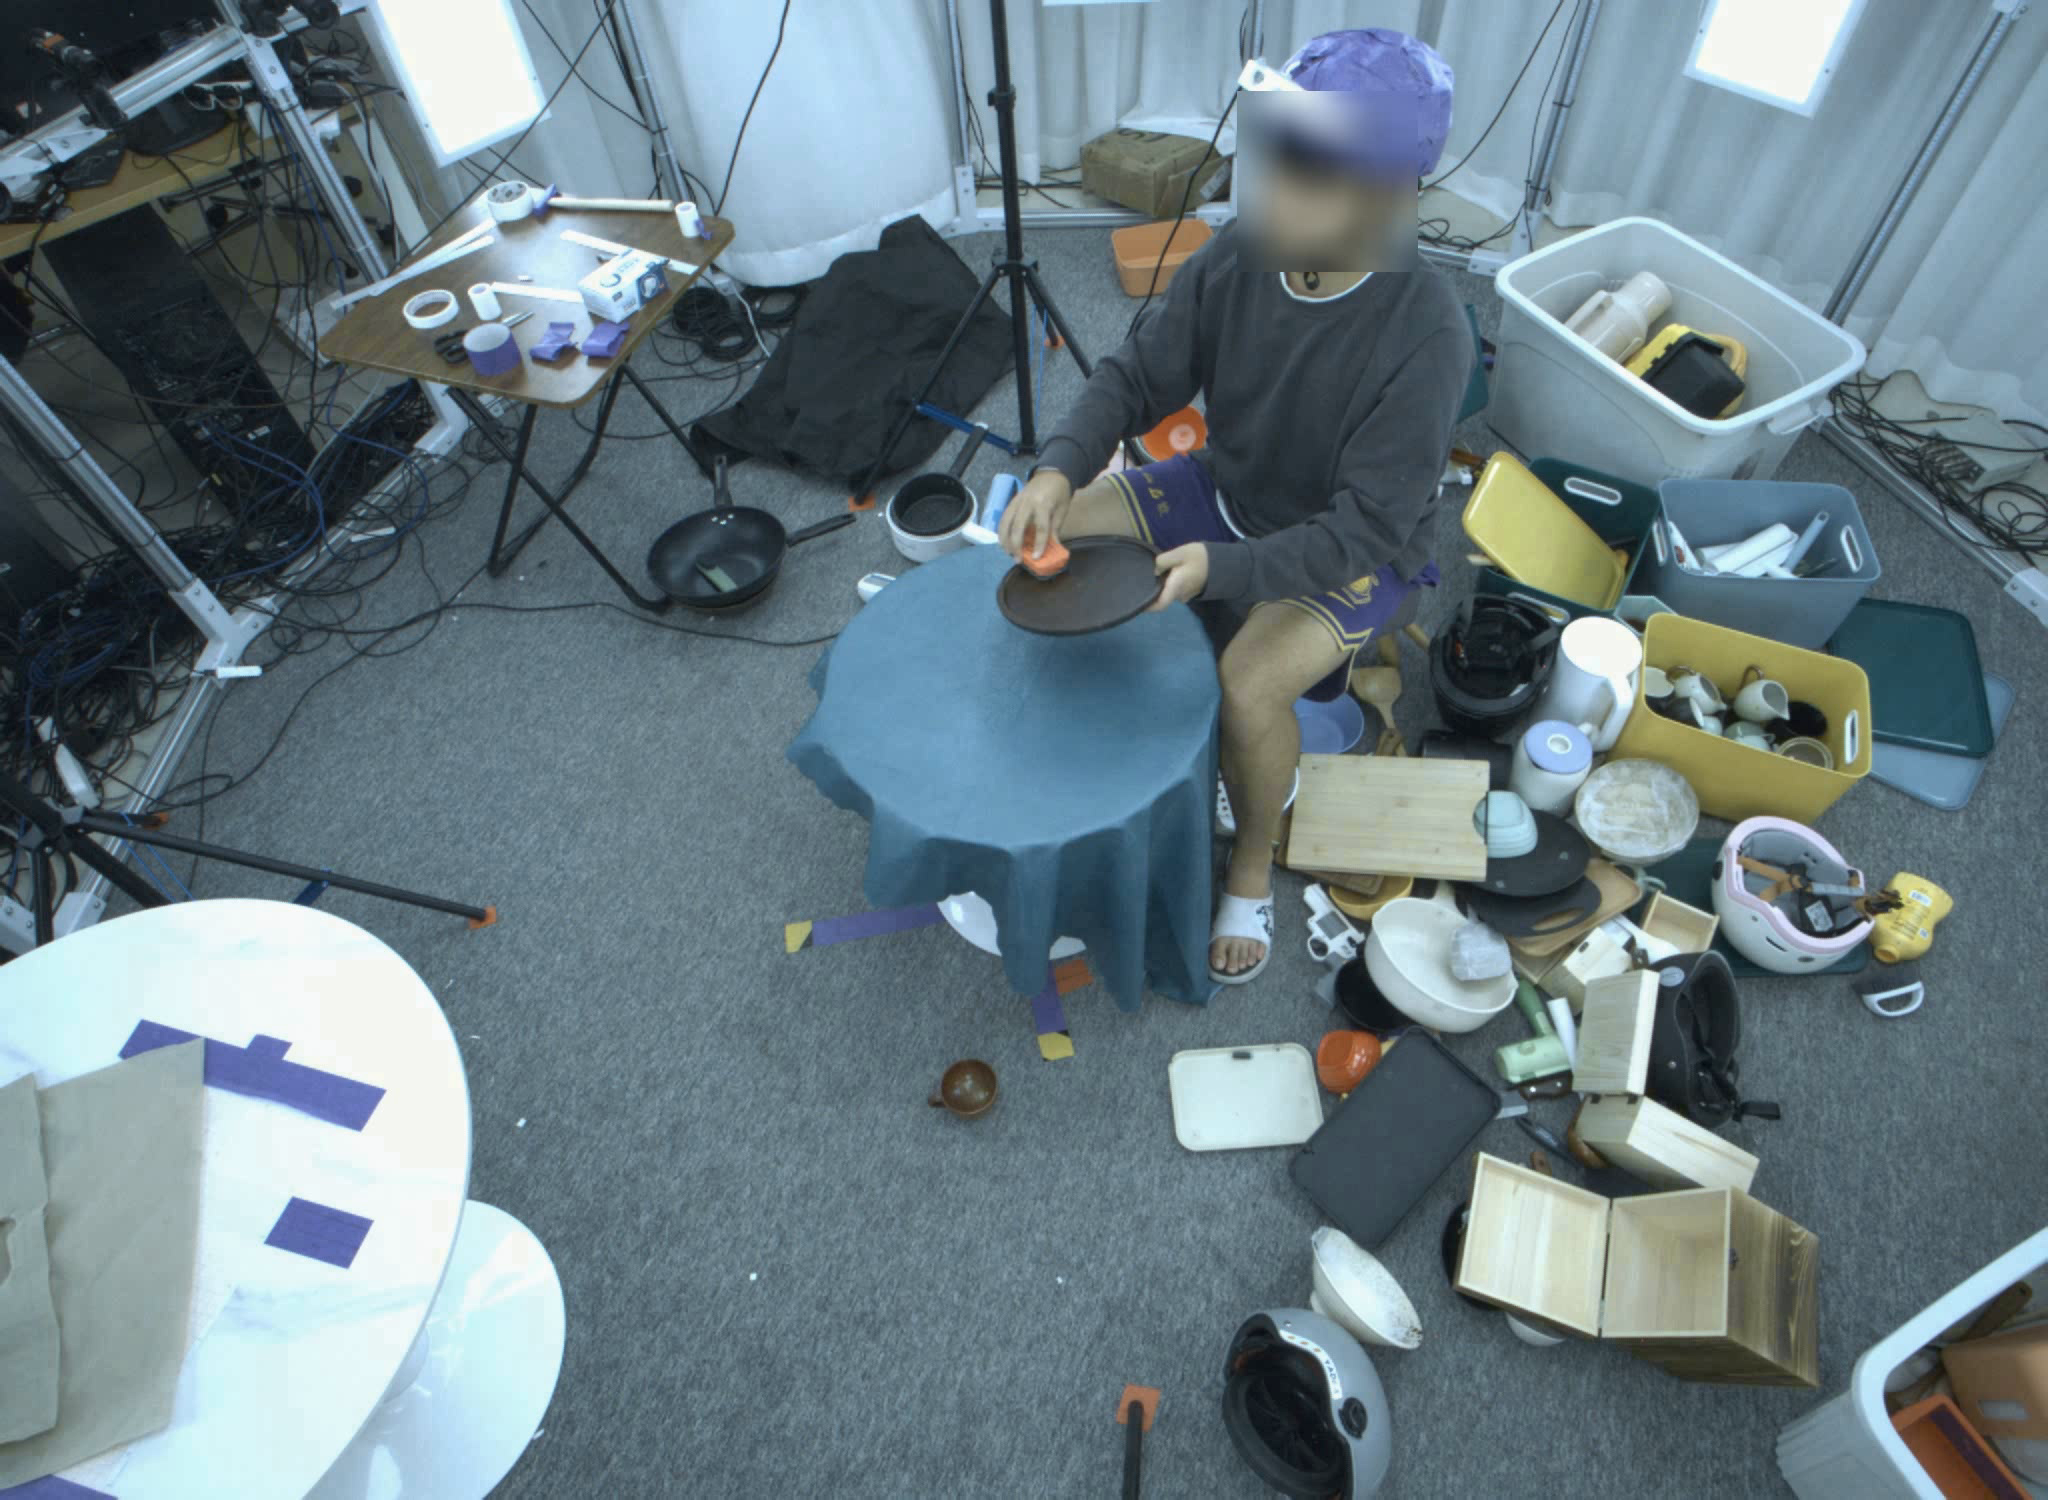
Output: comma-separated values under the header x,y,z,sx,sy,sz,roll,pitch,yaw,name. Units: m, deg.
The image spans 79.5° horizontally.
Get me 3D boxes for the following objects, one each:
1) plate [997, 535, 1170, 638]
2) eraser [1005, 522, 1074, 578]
x,y,z,sx,sy,sz,roll,pitch,yaw,name
0.085,-0.237,1.771,0.253,0.029,0.252,-9,37,8,plate
0.022,-0.300,1.829,0.059,0.023,0.105,-33,51,-17,eraser
